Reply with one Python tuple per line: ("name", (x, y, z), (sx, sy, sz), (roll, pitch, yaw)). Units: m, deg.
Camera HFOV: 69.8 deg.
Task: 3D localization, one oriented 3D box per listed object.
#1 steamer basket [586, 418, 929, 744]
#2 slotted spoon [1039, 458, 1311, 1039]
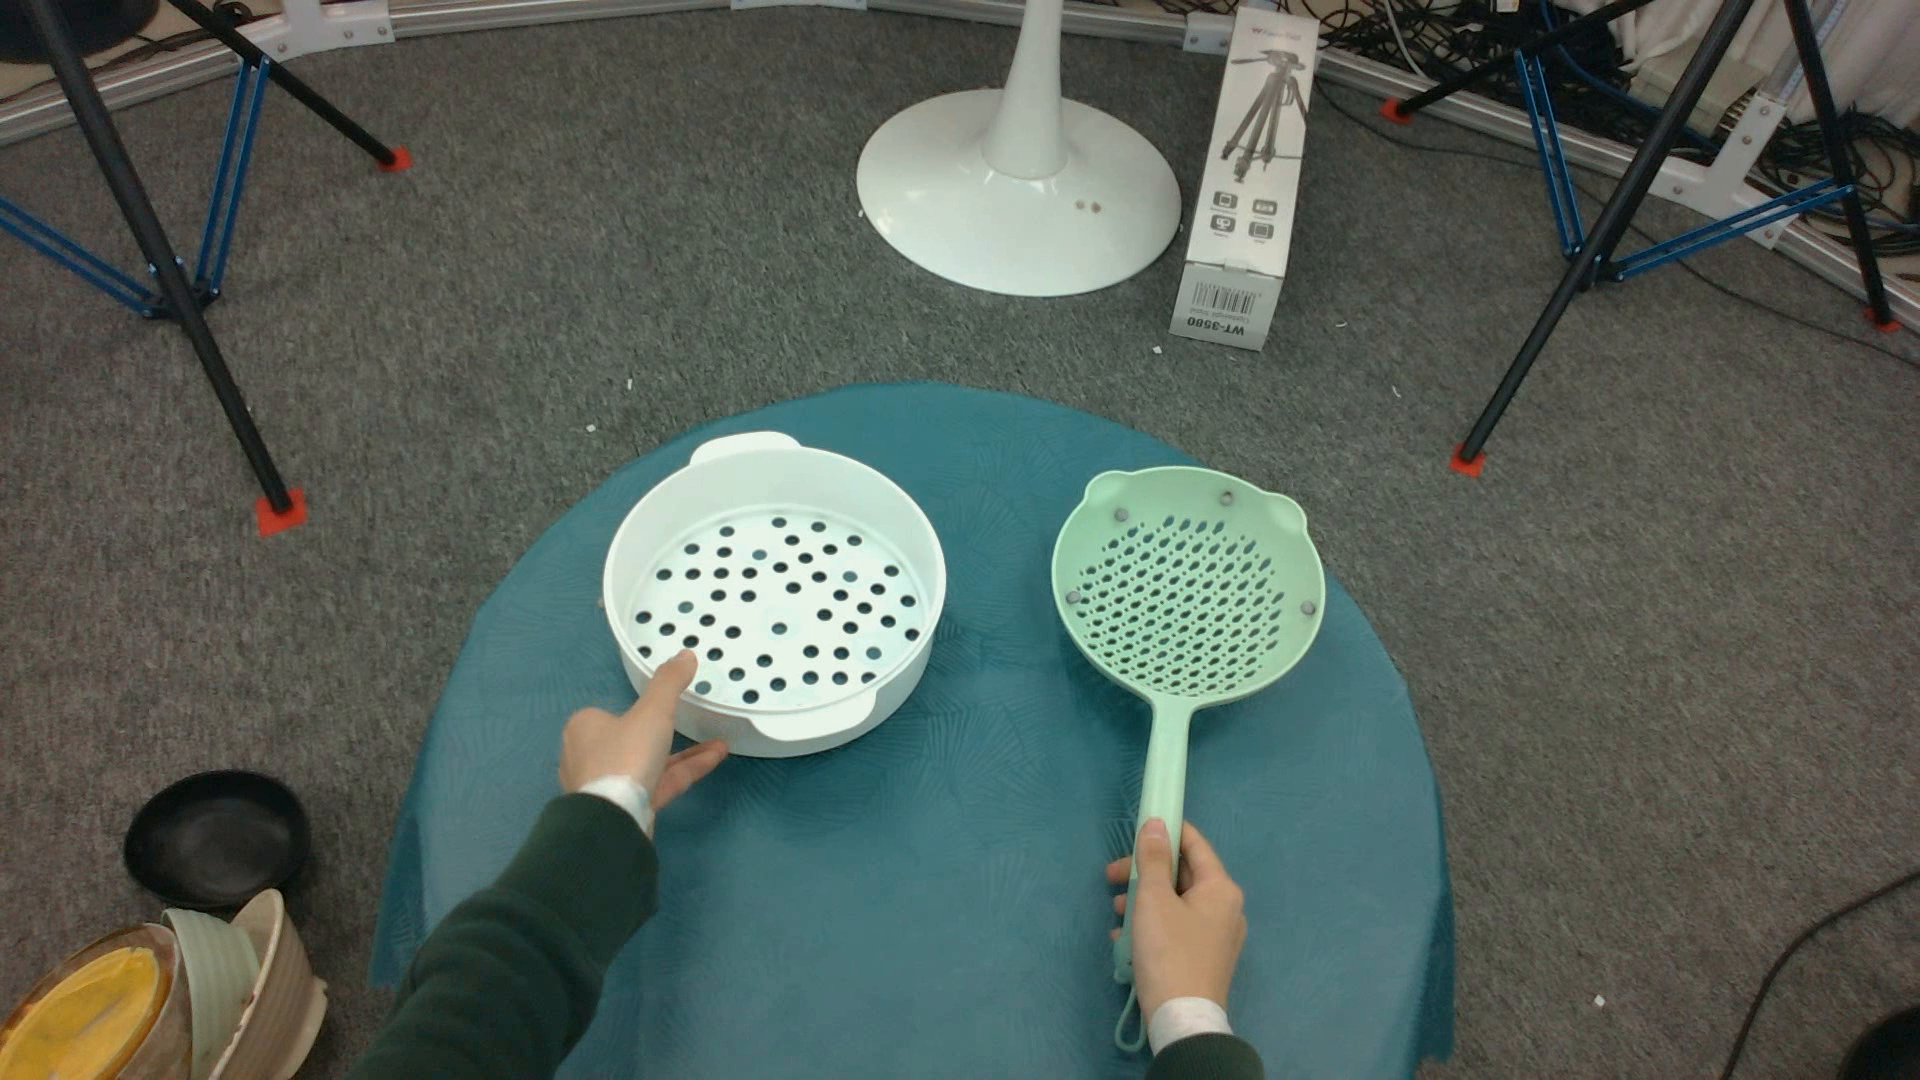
("steamer basket", (-0.121, 0.029, 0.840), (0.202, 0.069, 0.231), (-12, 54, -15))
("slotted spoon", (0.115, 0.104, 0.808), (0.169, 0.075, 0.360), (9, 49, 5))
